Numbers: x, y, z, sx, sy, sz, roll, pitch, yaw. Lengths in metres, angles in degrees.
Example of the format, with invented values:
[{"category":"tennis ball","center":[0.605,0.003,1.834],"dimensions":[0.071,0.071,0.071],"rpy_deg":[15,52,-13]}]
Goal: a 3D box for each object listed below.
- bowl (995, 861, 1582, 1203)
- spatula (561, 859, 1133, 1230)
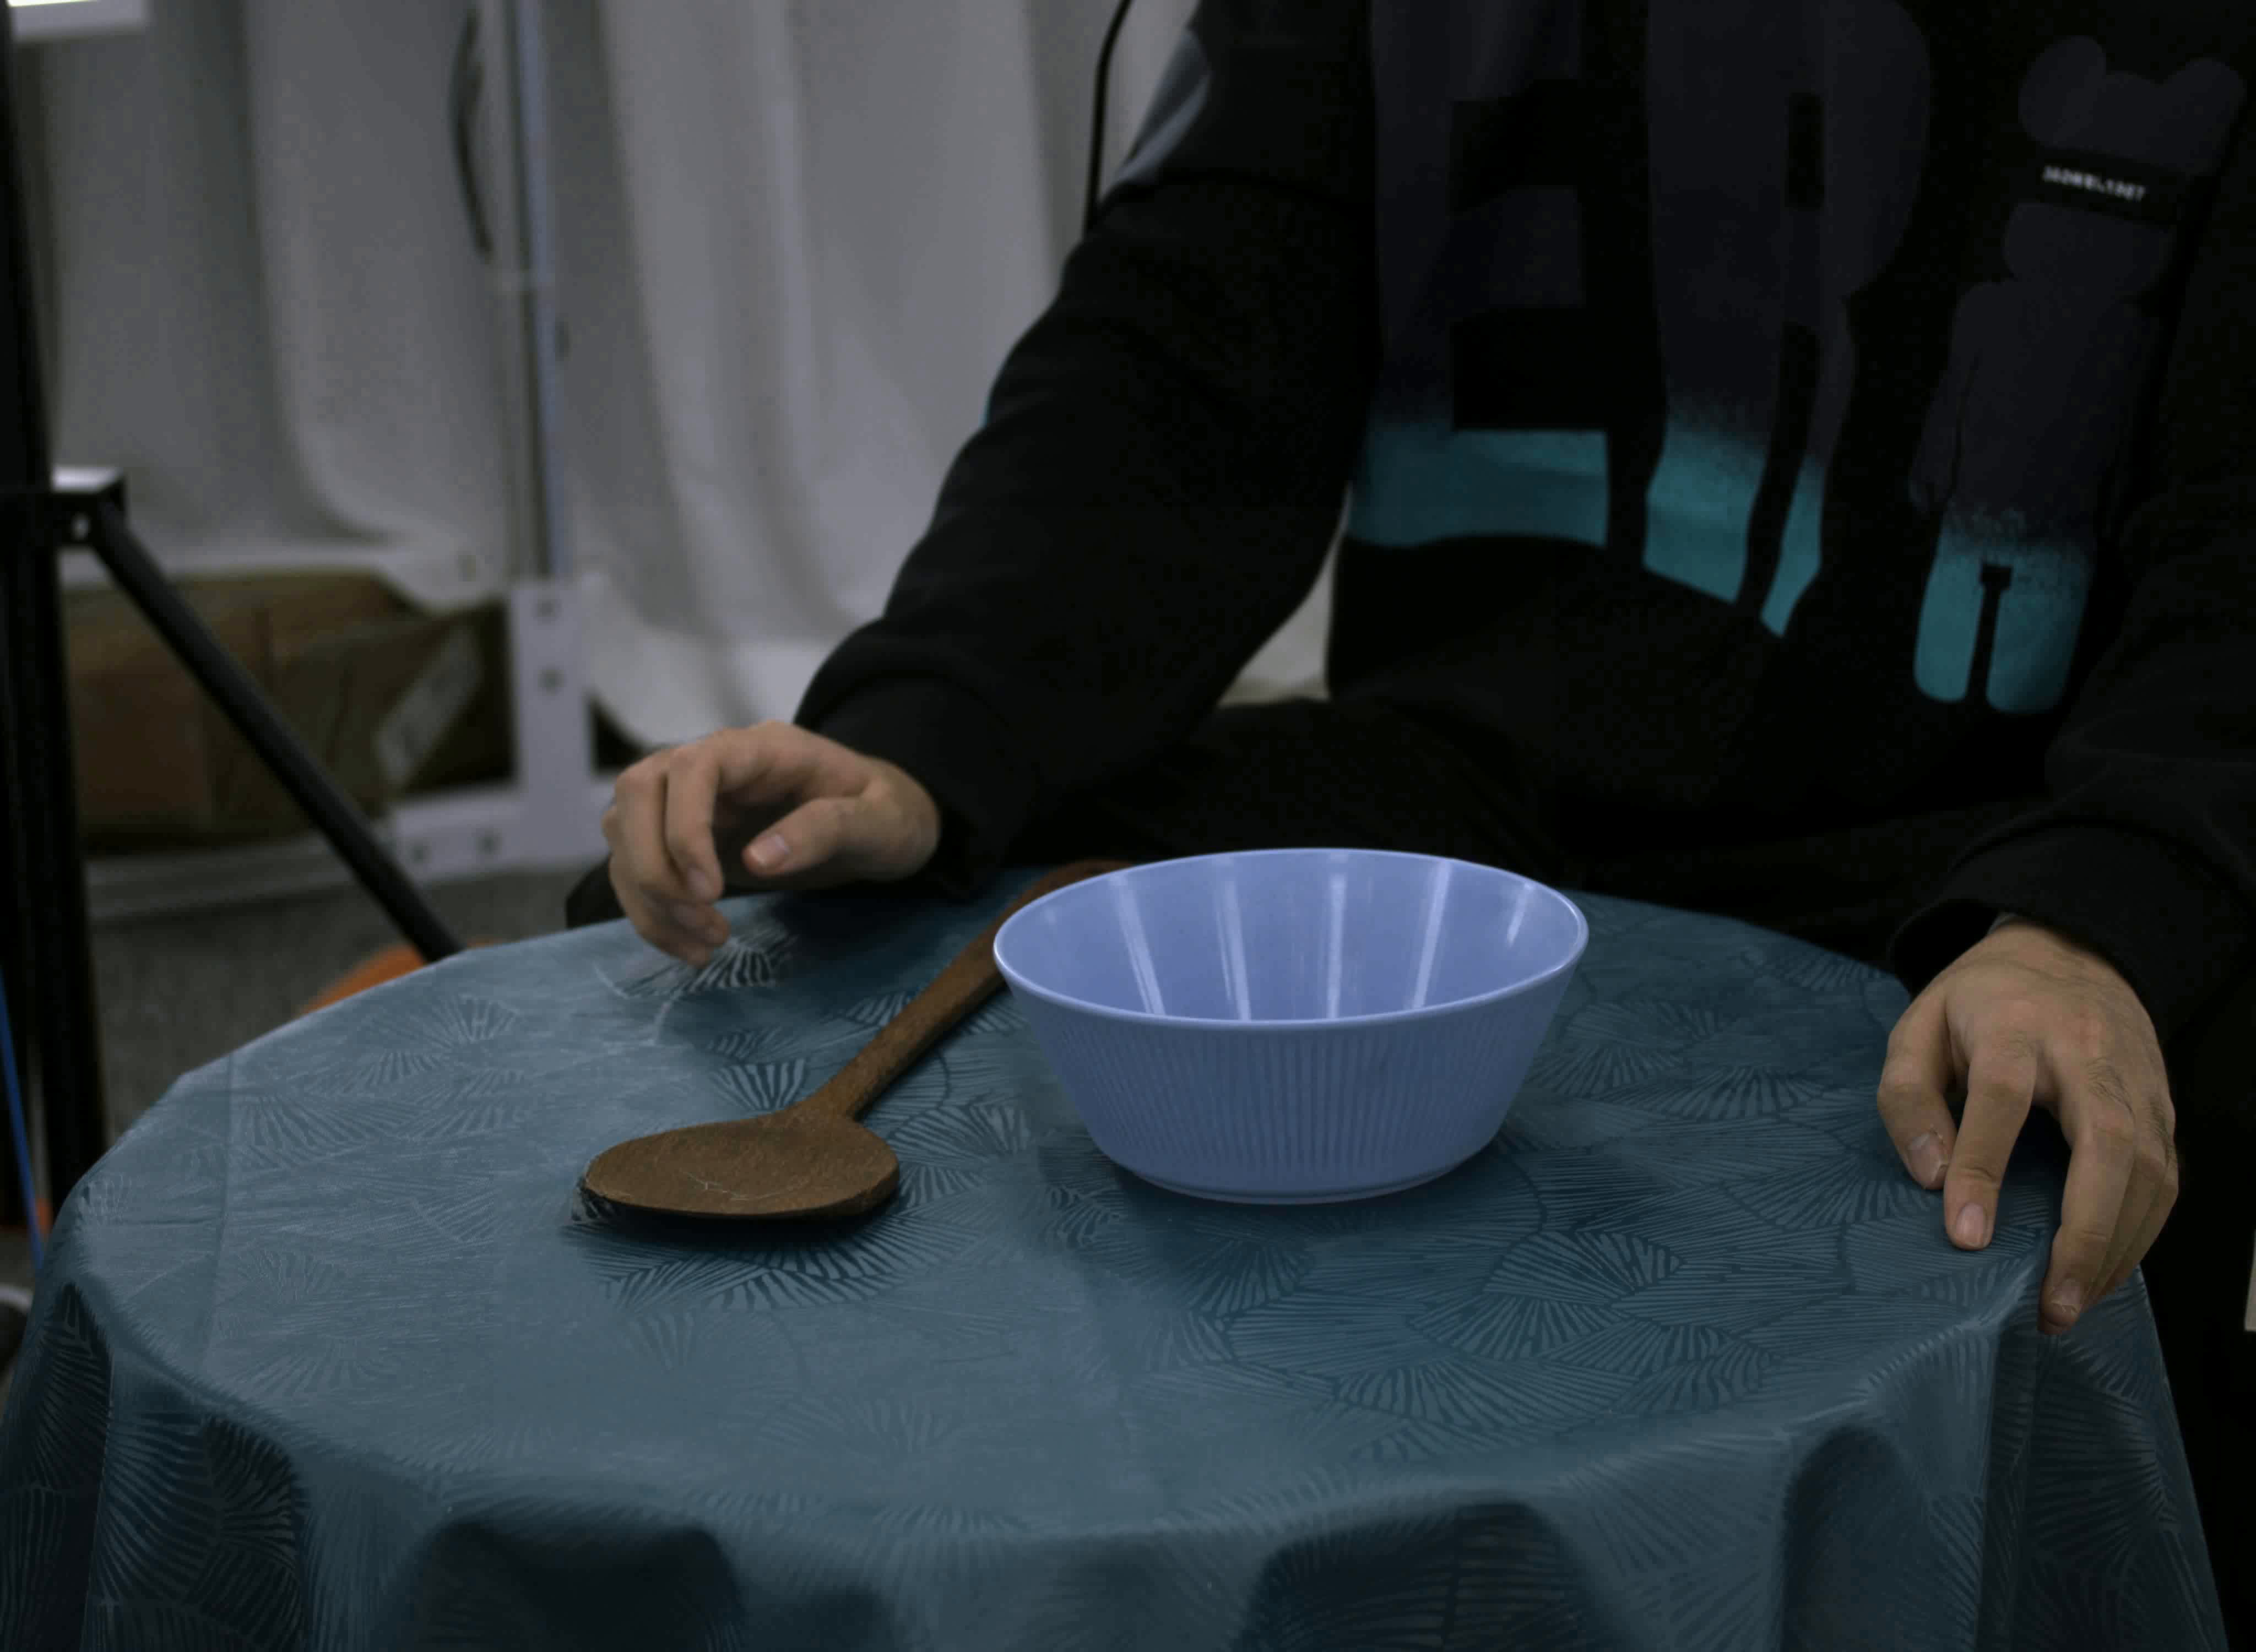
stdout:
[{"category":"bowl","center":[0.048,0.064,1.581],"dimensions":[0.175,0.070,0.177],"rpy_deg":[-2,14,-1]},{"category":"spatula","center":[-0.067,0.064,1.700],"dimensions":[0.097,0.016,0.382],"rpy_deg":[3,17,19]}]
